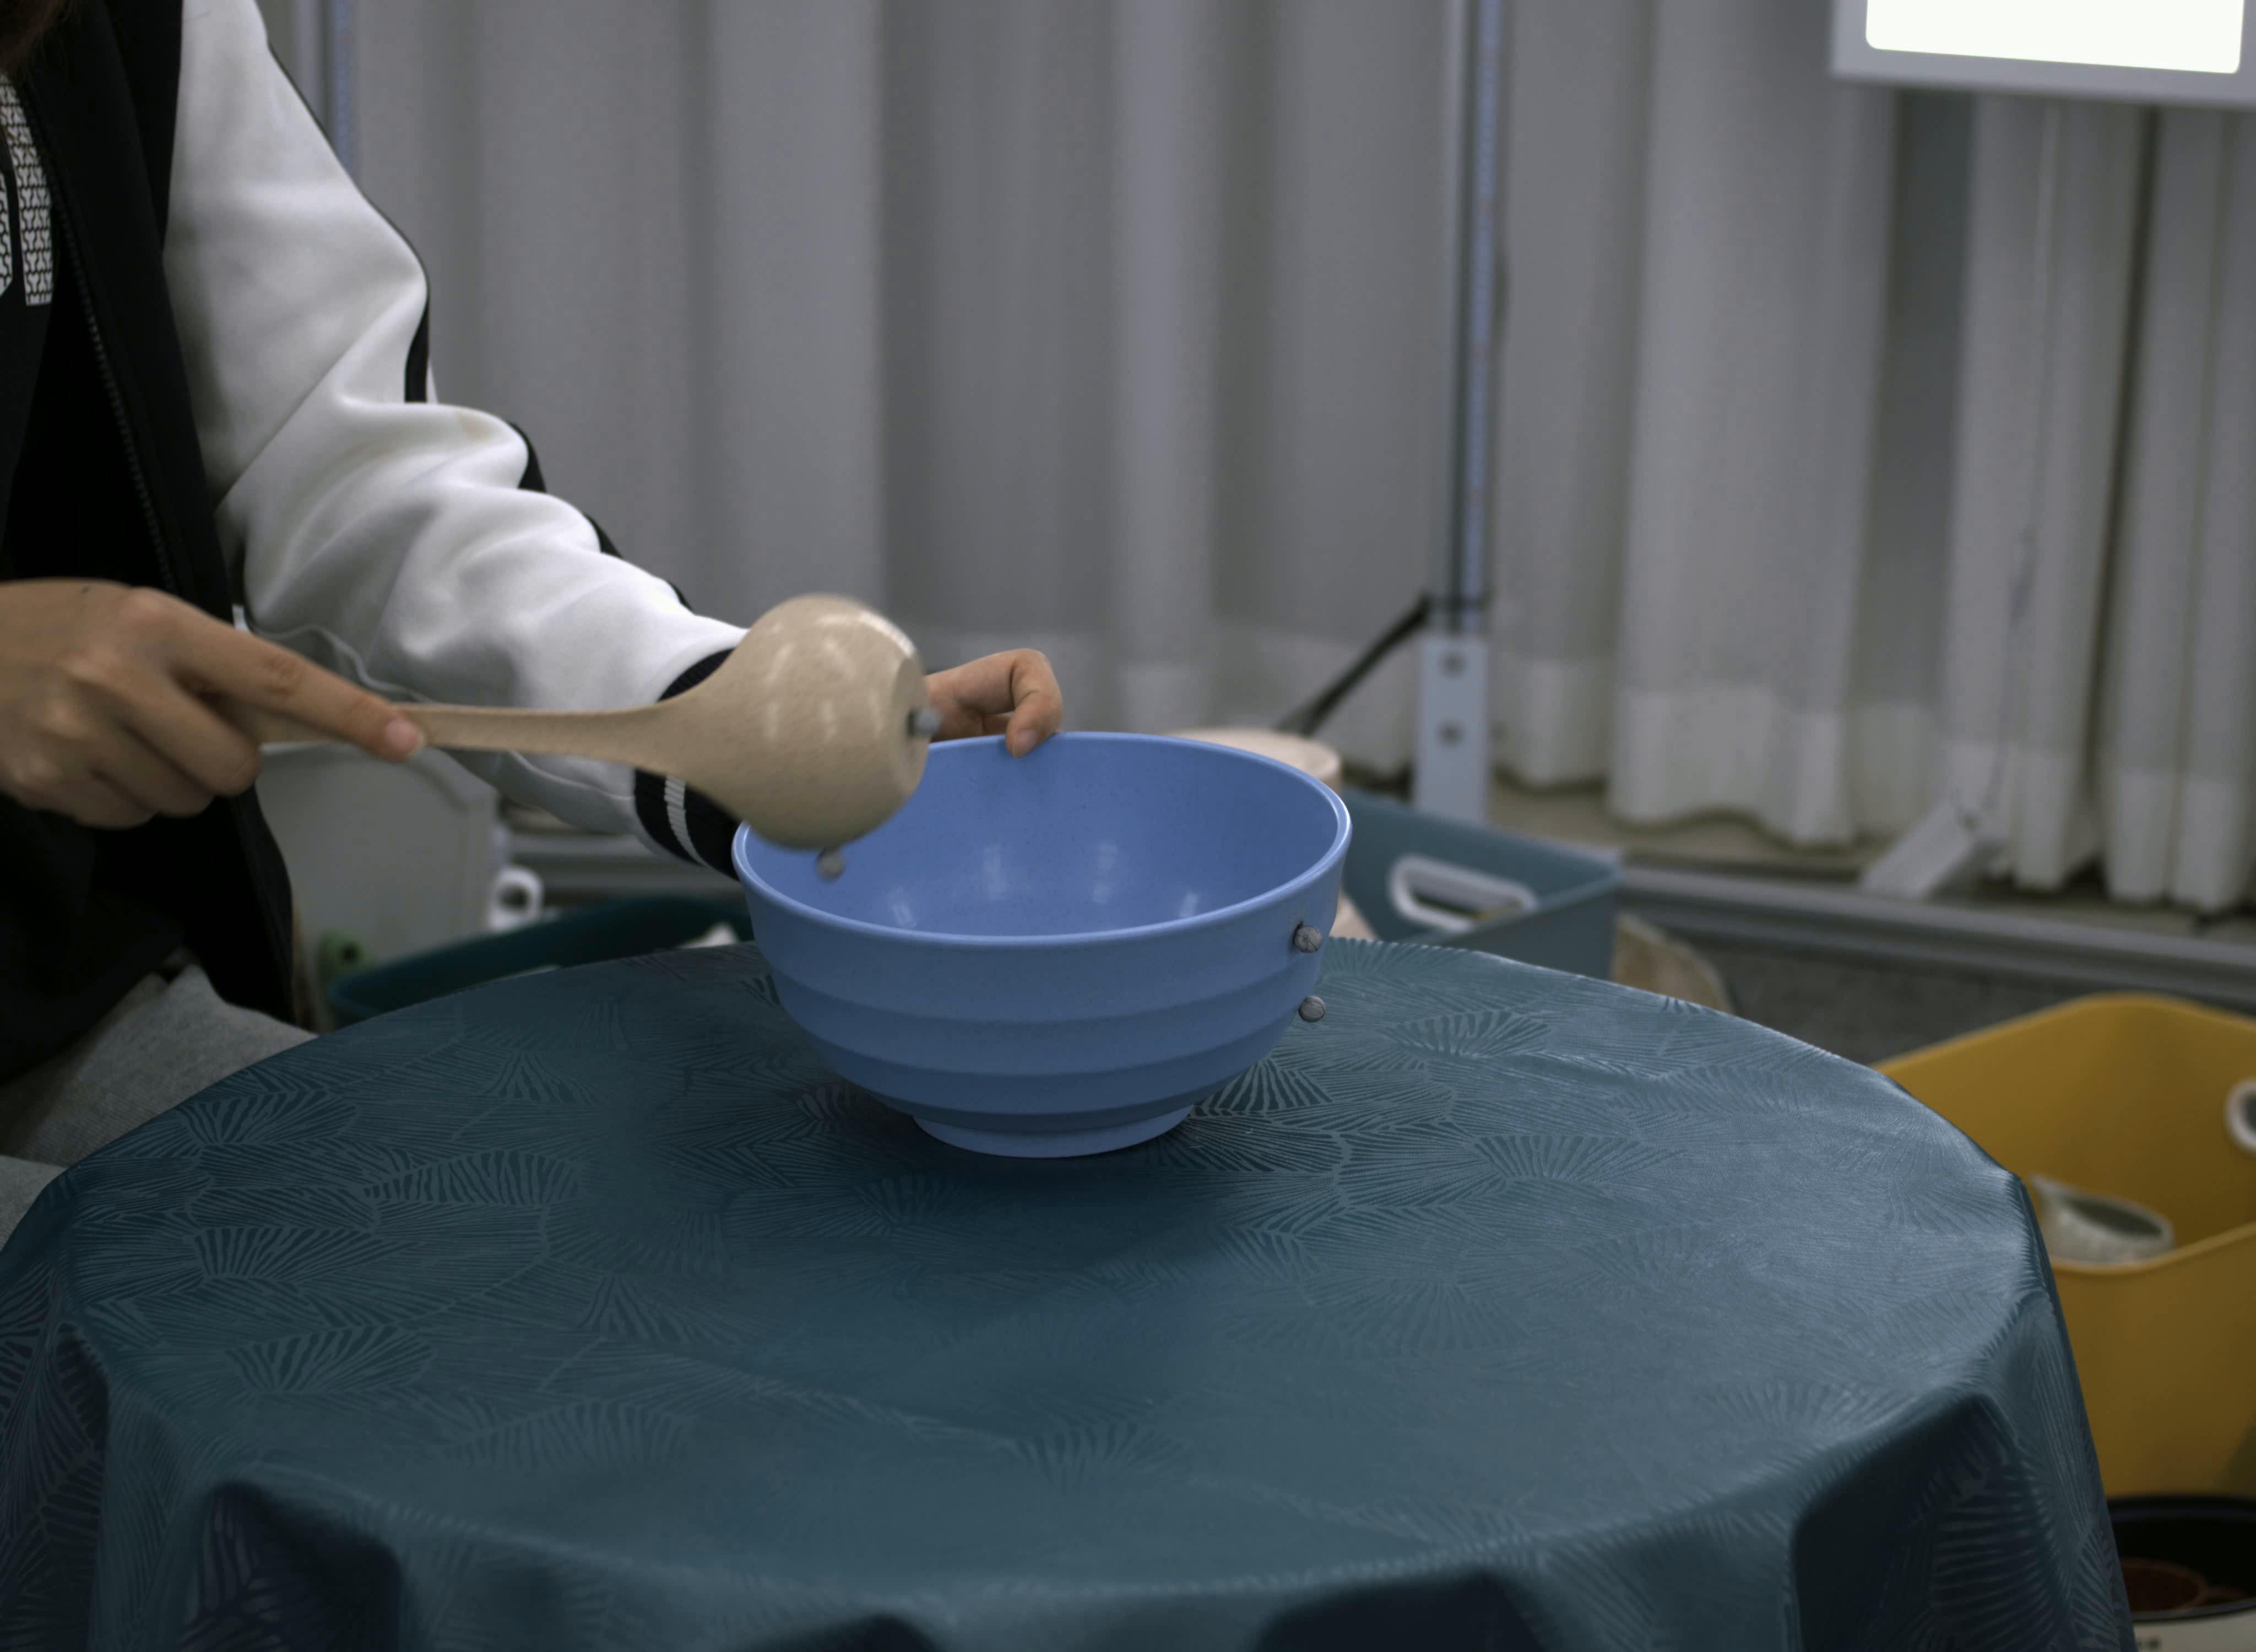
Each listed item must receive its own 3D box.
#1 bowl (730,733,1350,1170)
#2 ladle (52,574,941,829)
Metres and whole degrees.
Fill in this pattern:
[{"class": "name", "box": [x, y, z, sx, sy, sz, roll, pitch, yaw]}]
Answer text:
[{"class": "bowl", "box": [-0.025, 0.048, 1.676, 0.196, 0.096, 0.195, -3, 21, 2]}, {"class": "ladle", "box": [-0.177, -0.045, 1.501, 0.252, 0.073, 0.073, 6, 23, 17]}]
